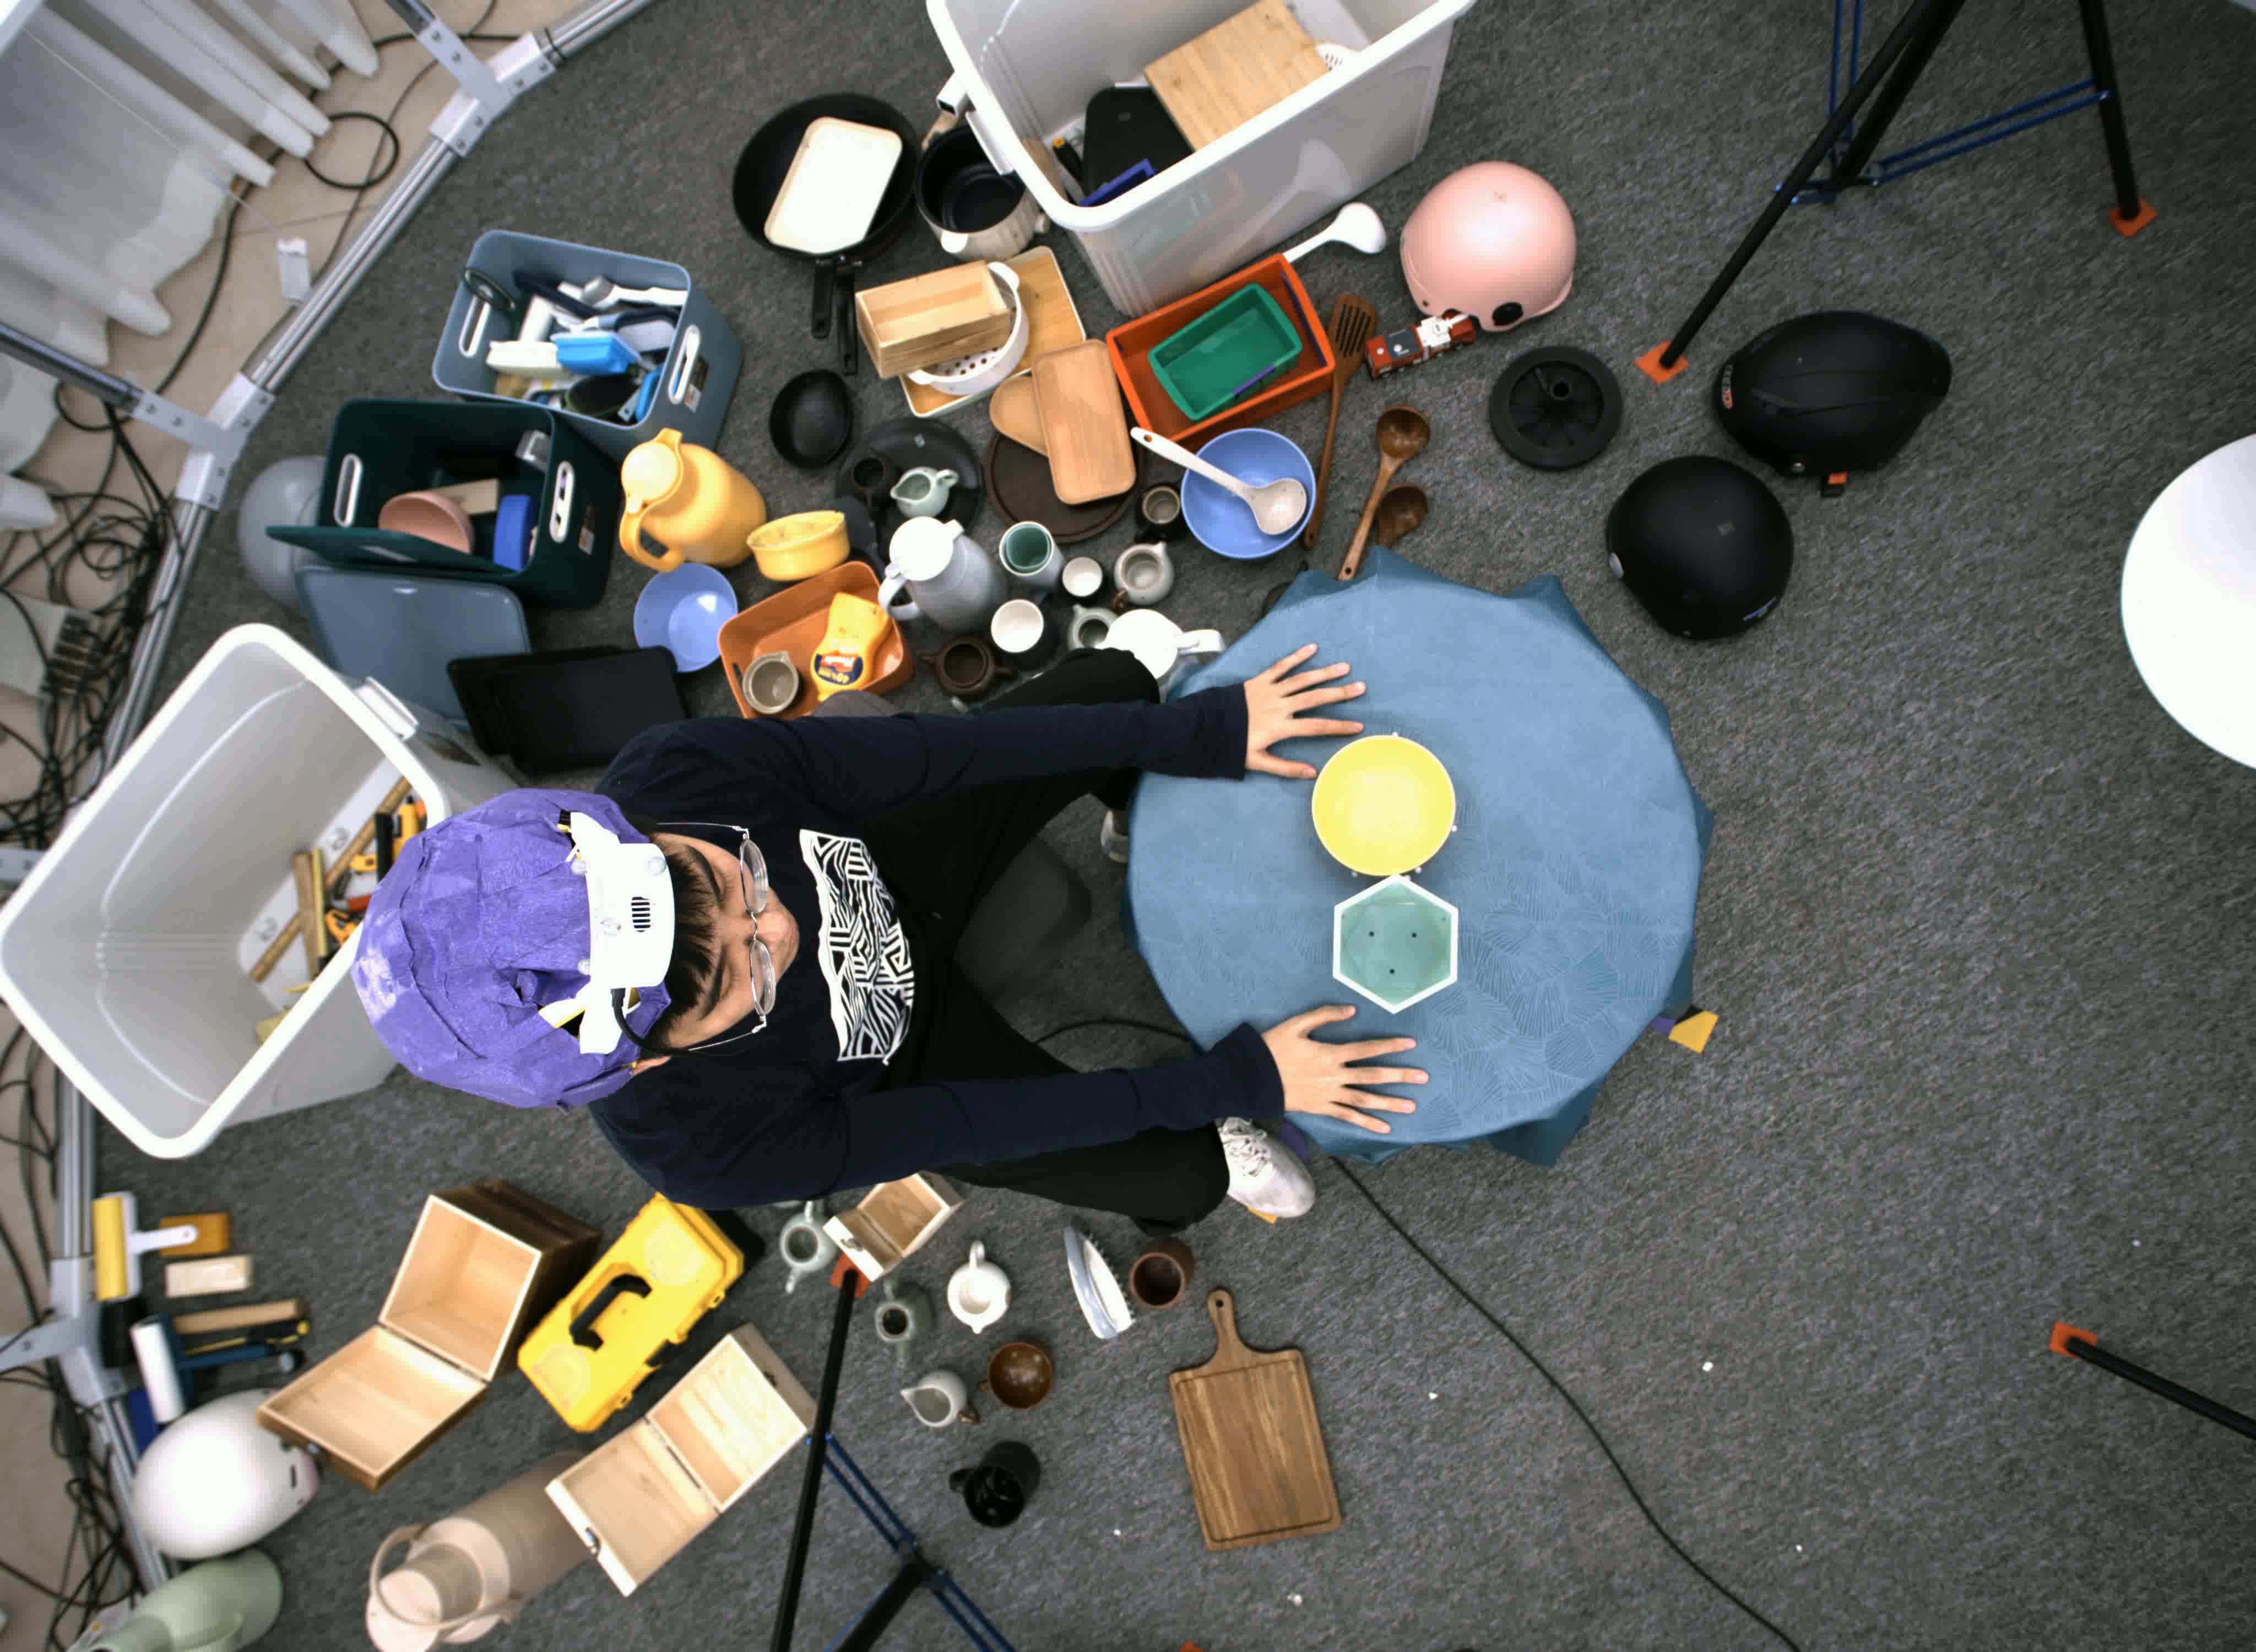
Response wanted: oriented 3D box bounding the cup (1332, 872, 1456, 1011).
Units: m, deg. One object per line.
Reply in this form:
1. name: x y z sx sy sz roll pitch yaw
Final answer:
1. cup: 0.265 0.116 1.374 0.115 0.163 0.130 0 85 11

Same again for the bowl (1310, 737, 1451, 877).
1. bowl: 0.263 -0.018 1.438 0.146 0.060 0.144 -1 85 12
